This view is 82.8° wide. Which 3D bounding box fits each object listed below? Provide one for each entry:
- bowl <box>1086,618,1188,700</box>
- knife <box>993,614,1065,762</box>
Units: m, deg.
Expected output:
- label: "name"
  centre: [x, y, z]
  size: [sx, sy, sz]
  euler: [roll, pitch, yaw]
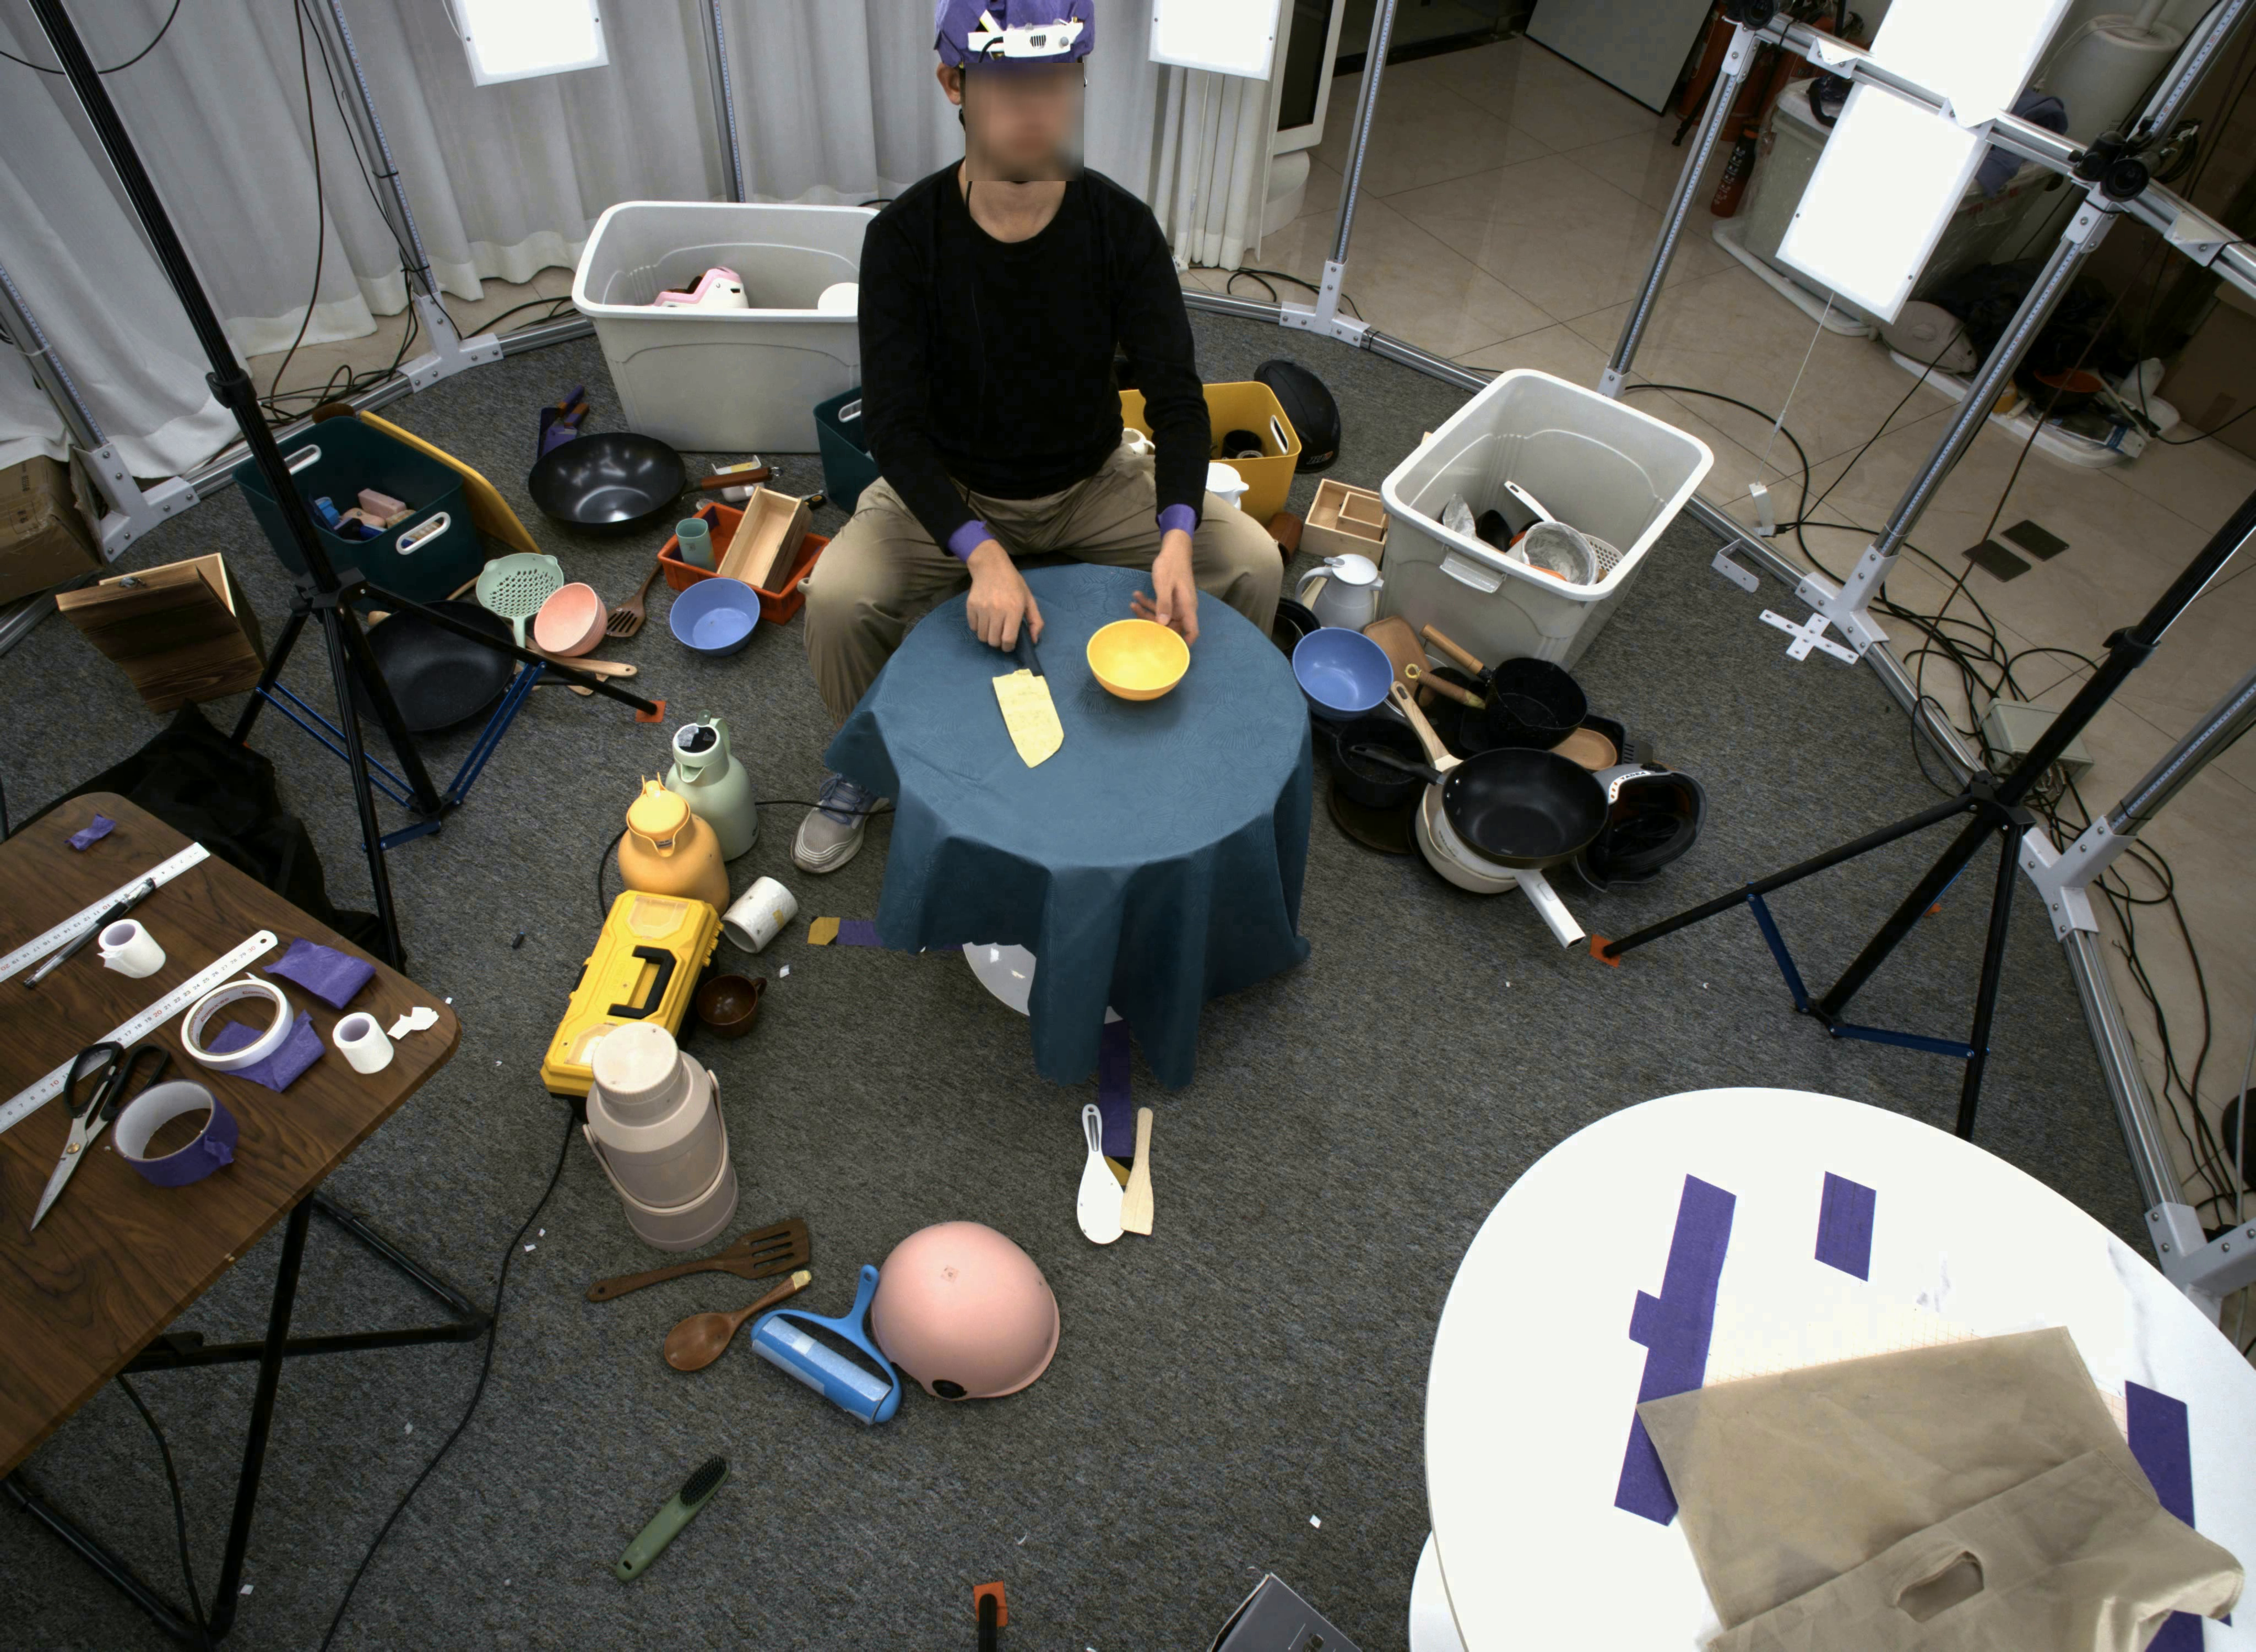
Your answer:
- label: "bowl"
  centre: [0.010, -0.226, 1.828]
  size: [0.145, 0.059, 0.149]
  euler: [3, 49, -4]
- label: "knife"
  centre: [-0.149, -0.198, 1.823]
  size: [0.081, 0.026, 0.297]
  euler: [-8, 51, -11]
